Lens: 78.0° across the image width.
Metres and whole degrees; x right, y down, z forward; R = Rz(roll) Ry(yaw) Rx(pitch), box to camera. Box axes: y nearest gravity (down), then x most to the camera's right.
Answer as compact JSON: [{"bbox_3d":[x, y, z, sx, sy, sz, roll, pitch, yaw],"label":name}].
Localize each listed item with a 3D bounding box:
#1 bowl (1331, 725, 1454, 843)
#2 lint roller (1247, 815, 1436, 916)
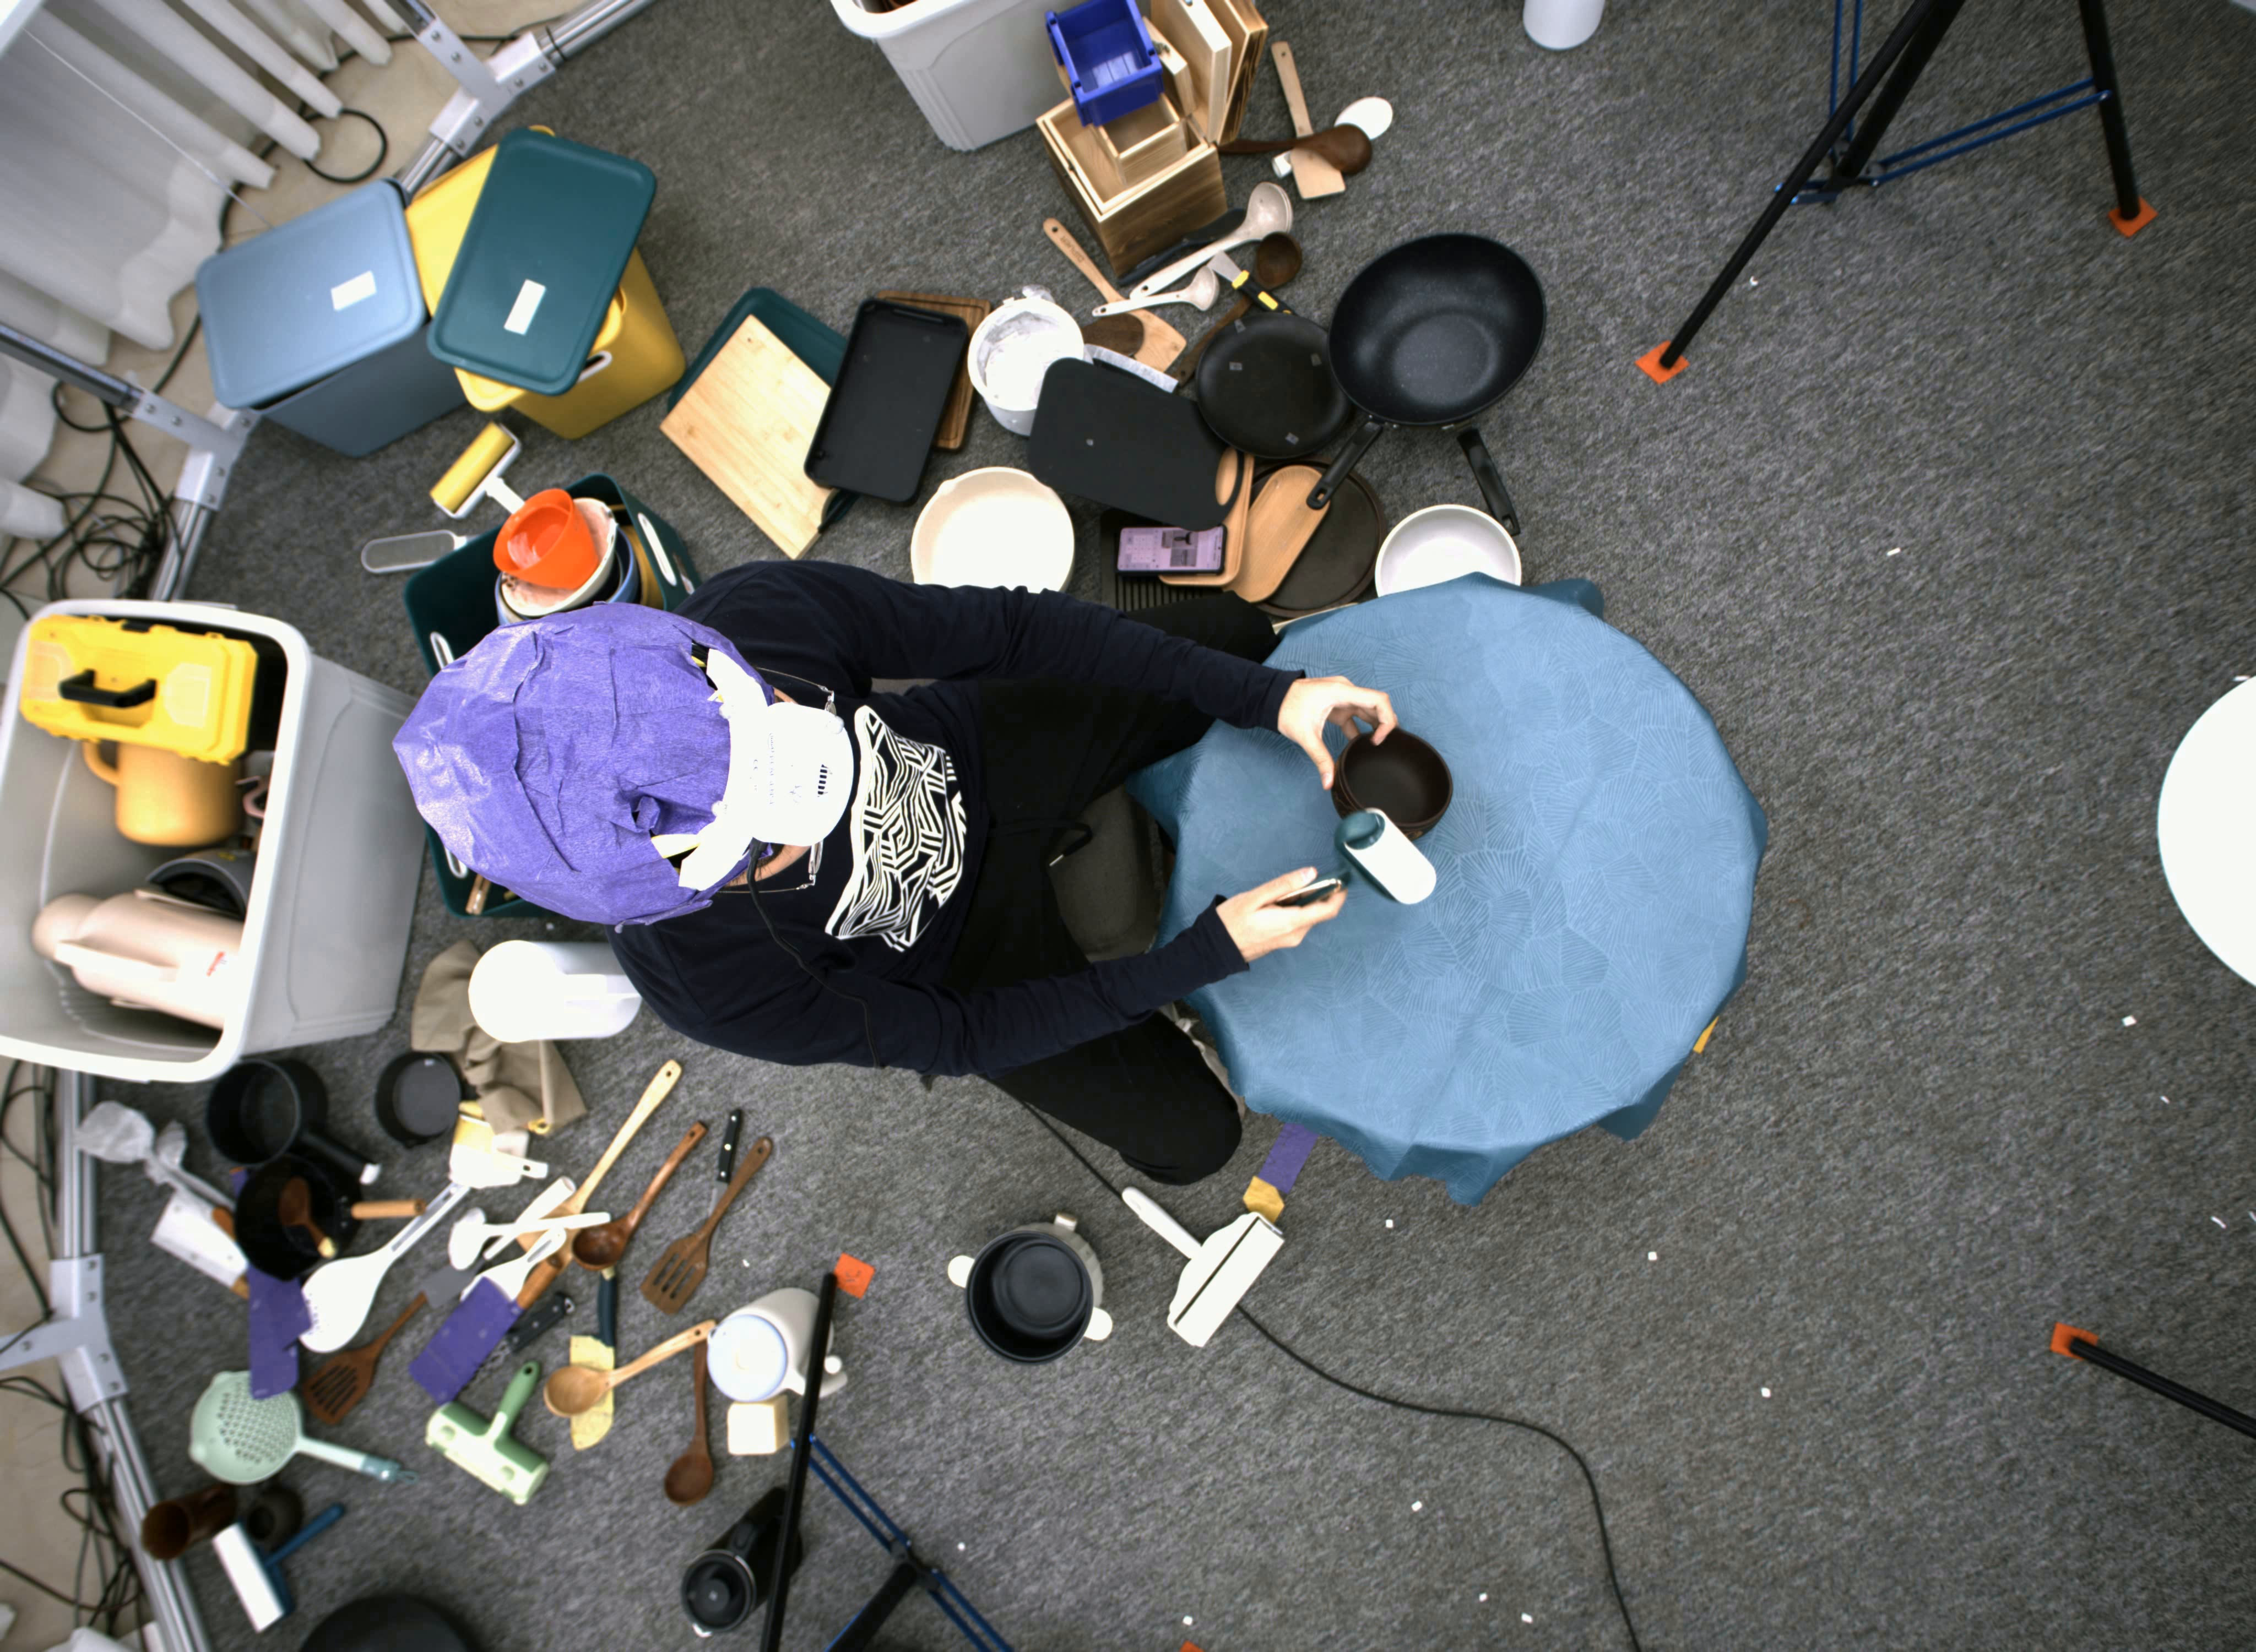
[{"bbox_3d":[0.258,-0.036,1.369,0.118,0.071,0.115,3,65,-6],"label":"bowl"},{"bbox_3d":[0.195,0.061,1.336,0.183,0.136,0.047,-28,45,25],"label":"lint roller"}]
